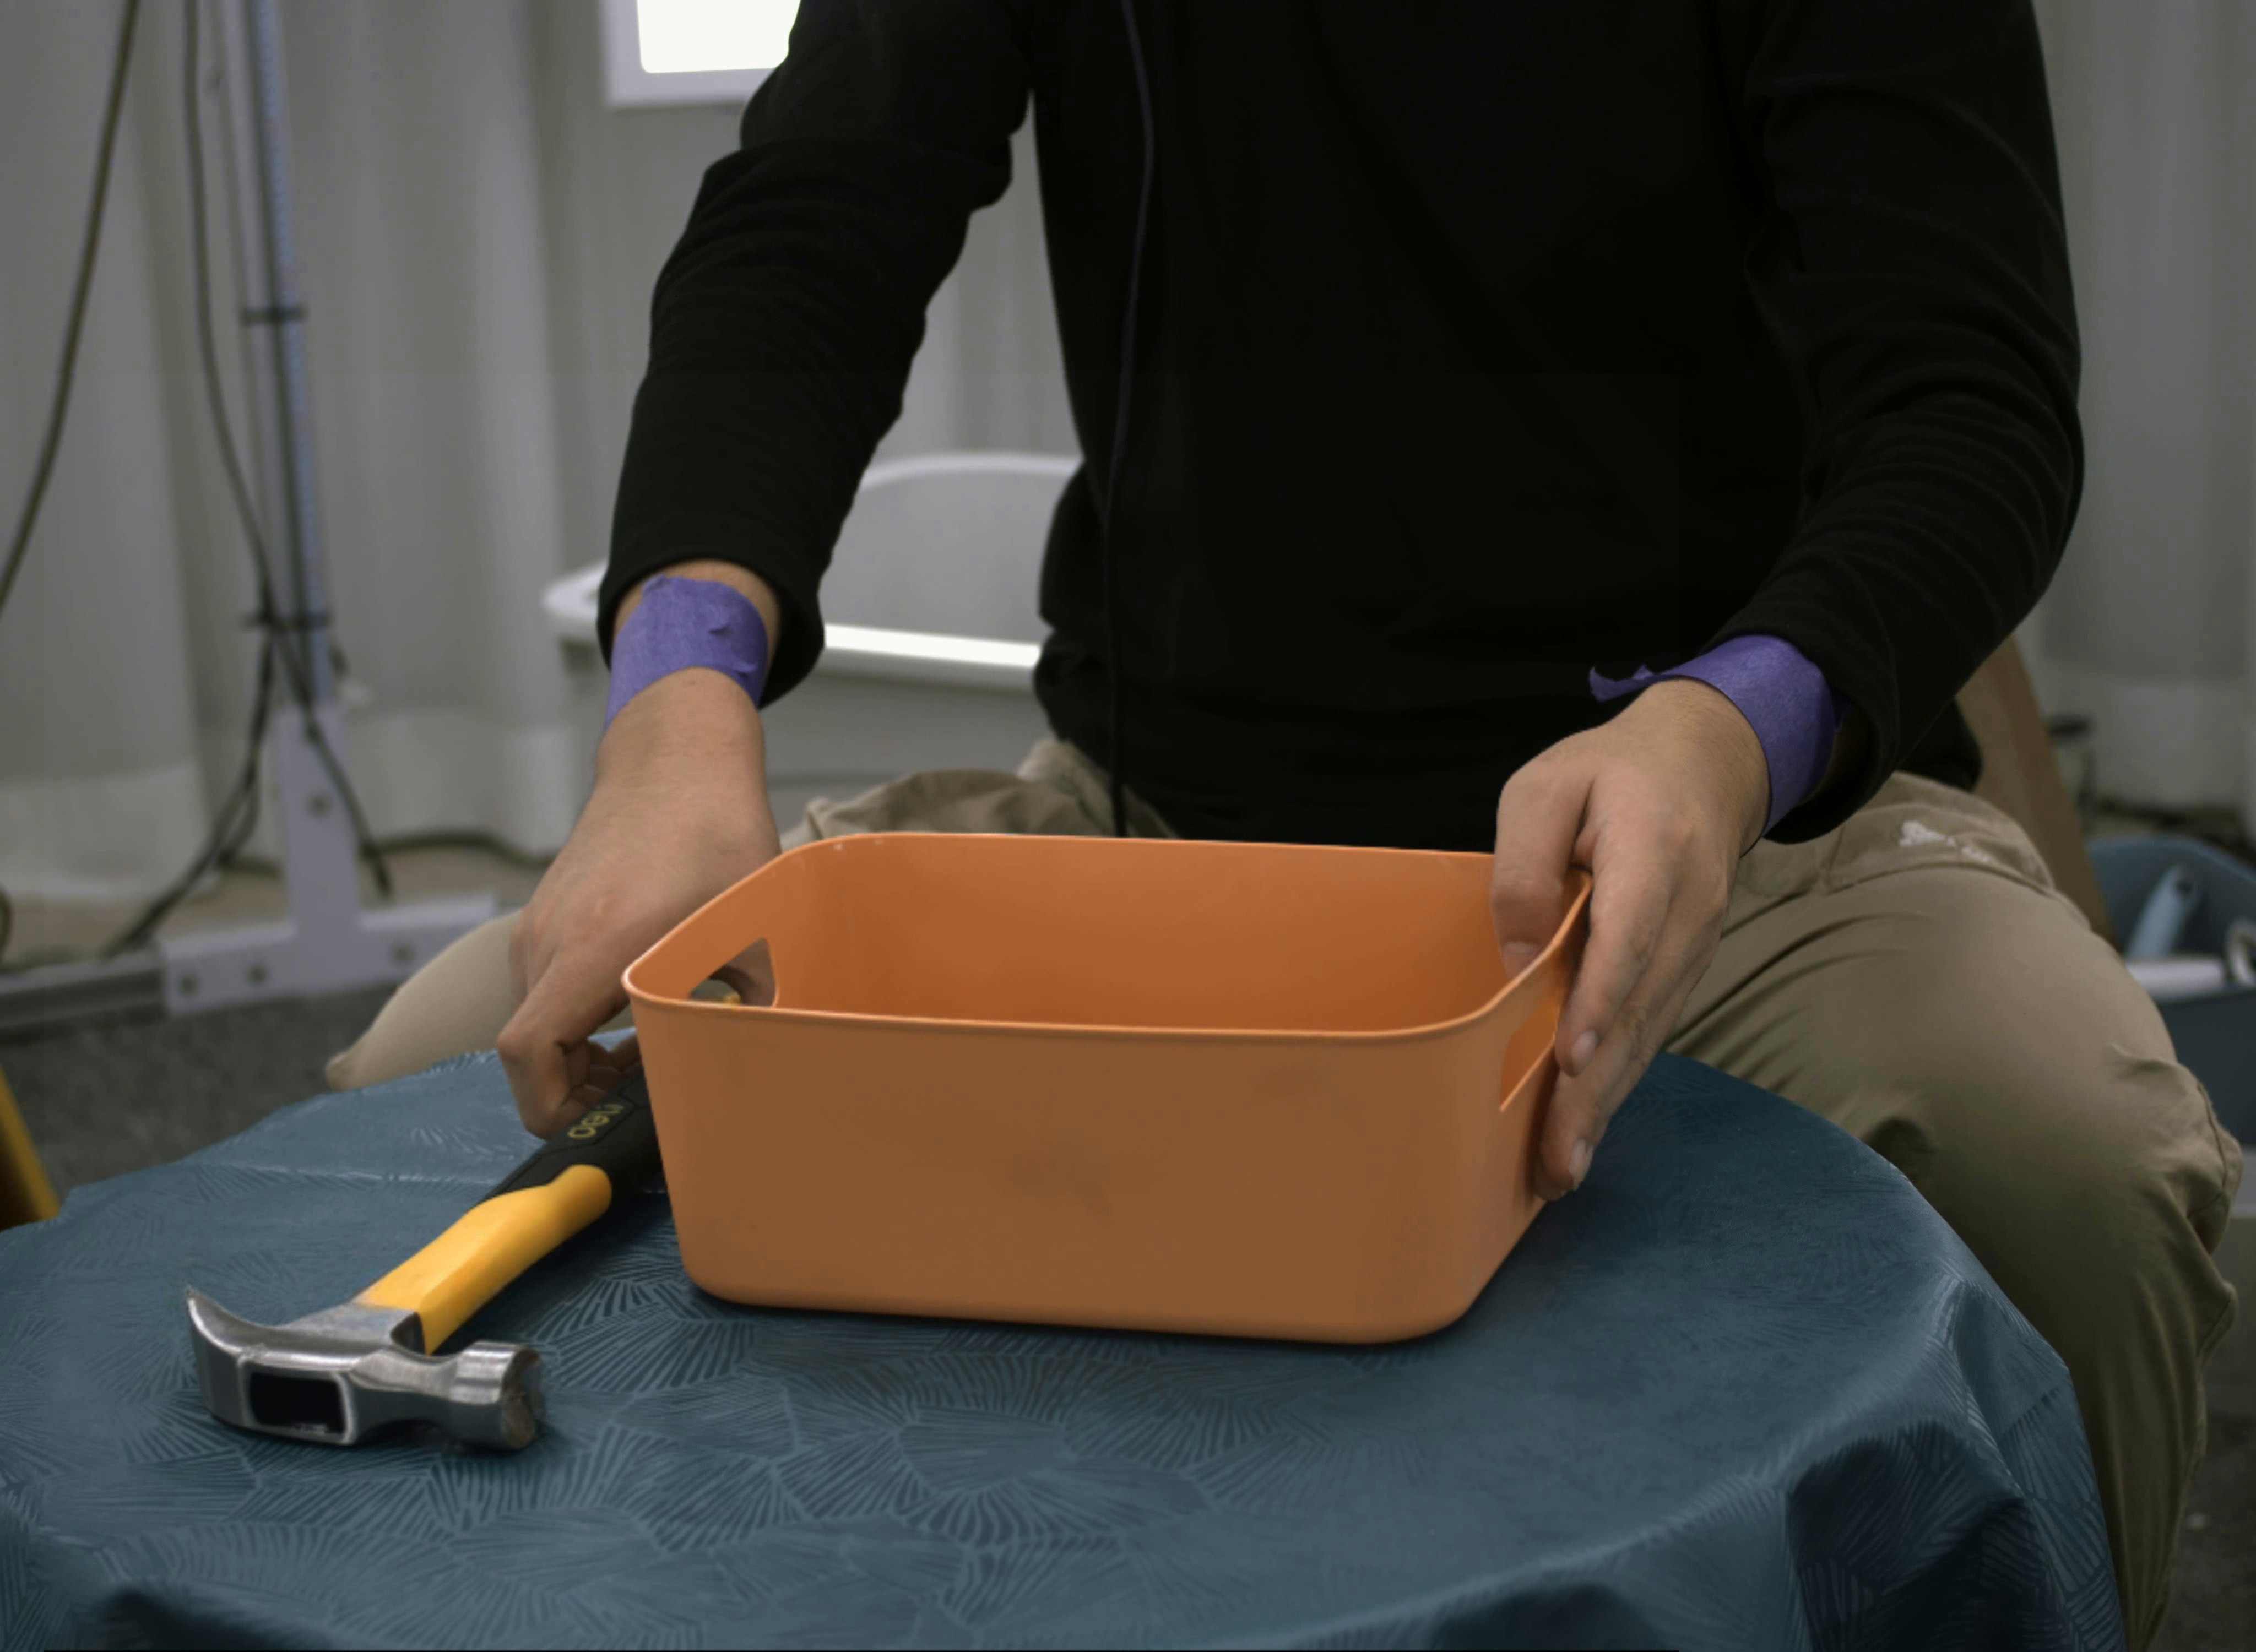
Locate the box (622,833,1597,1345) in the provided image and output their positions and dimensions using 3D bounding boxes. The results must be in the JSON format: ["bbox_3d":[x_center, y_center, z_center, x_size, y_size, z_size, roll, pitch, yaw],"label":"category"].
[{"bbox_3d":[-0.001,0.077,1.656,0.273,0.102,0.200,2,15,18],"label":"box"}]

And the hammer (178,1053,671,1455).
[{"bbox_3d":[-0.175,0.111,1.680,0.131,0.032,0.340,3,18,21],"label":"hammer"}]
